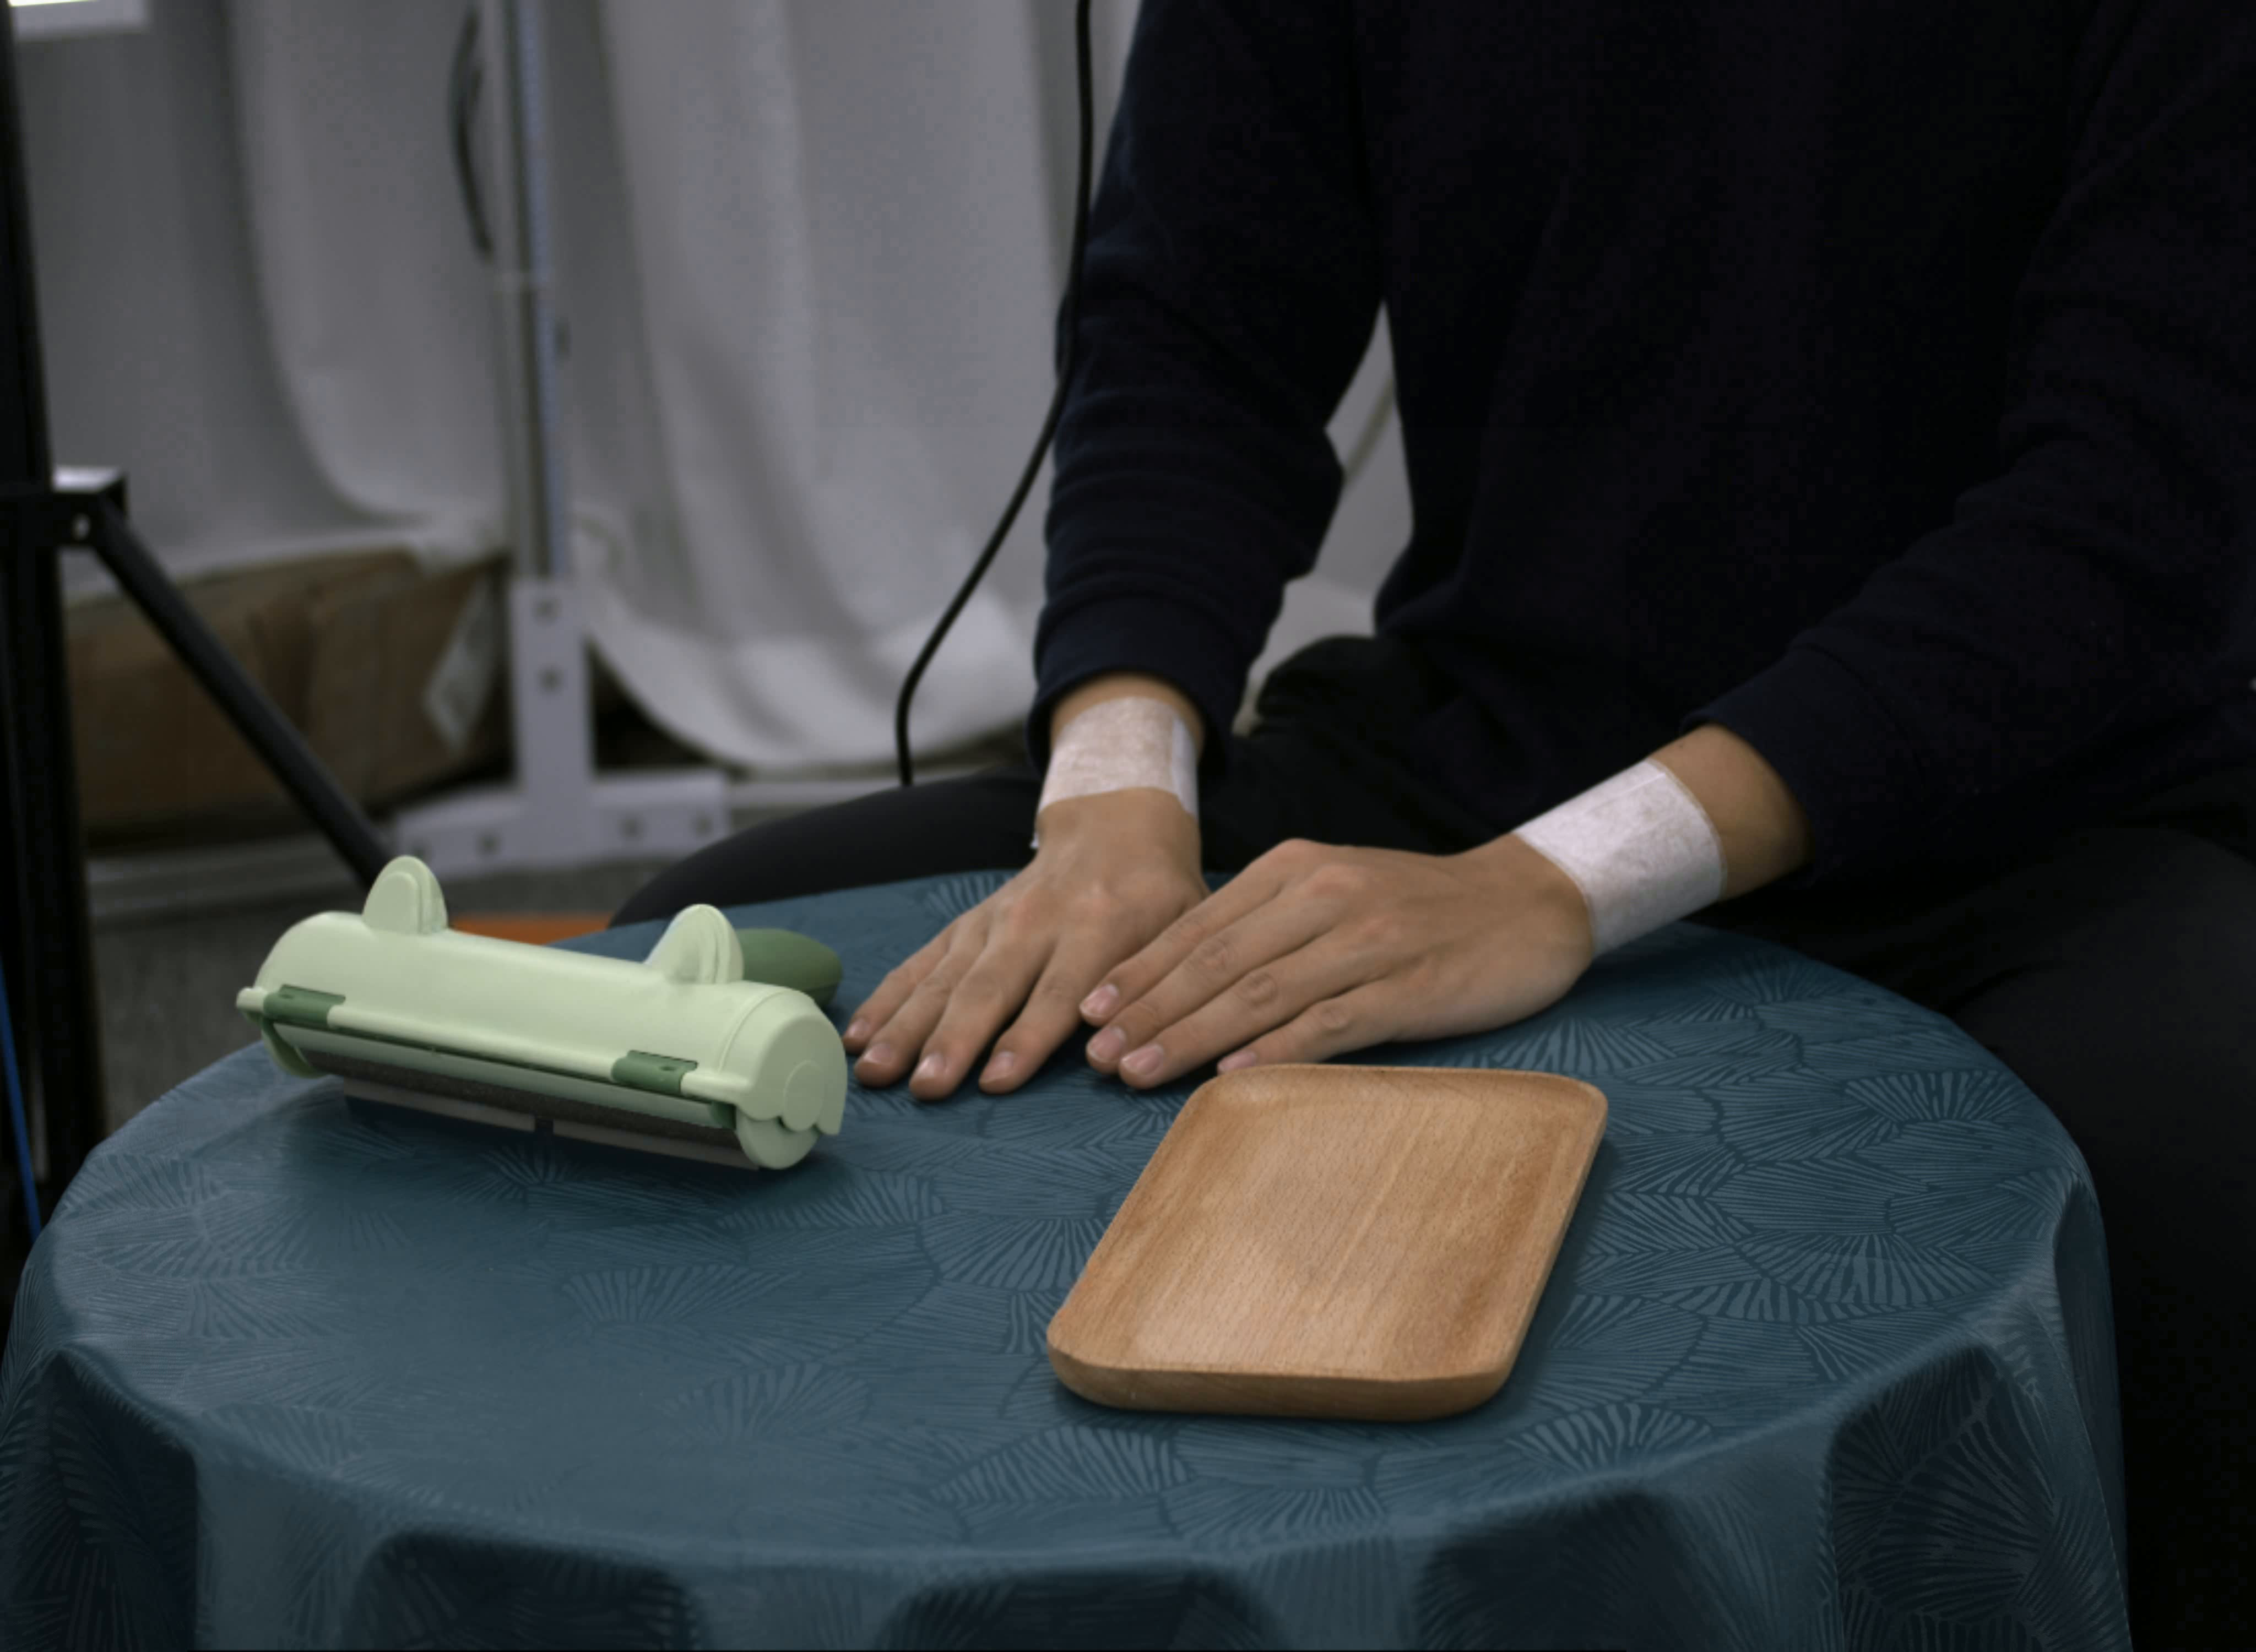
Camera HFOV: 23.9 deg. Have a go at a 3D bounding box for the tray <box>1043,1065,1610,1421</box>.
[{"bbox_3d":[0.061,0.114,1.494,0.131,0.023,0.249,3,16,13],"label":"tray"}]

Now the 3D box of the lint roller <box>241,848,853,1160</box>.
[{"bbox_3d":[-0.149,0.037,1.673,0.202,0.082,0.180,9,25,33],"label":"lint roller"}]
